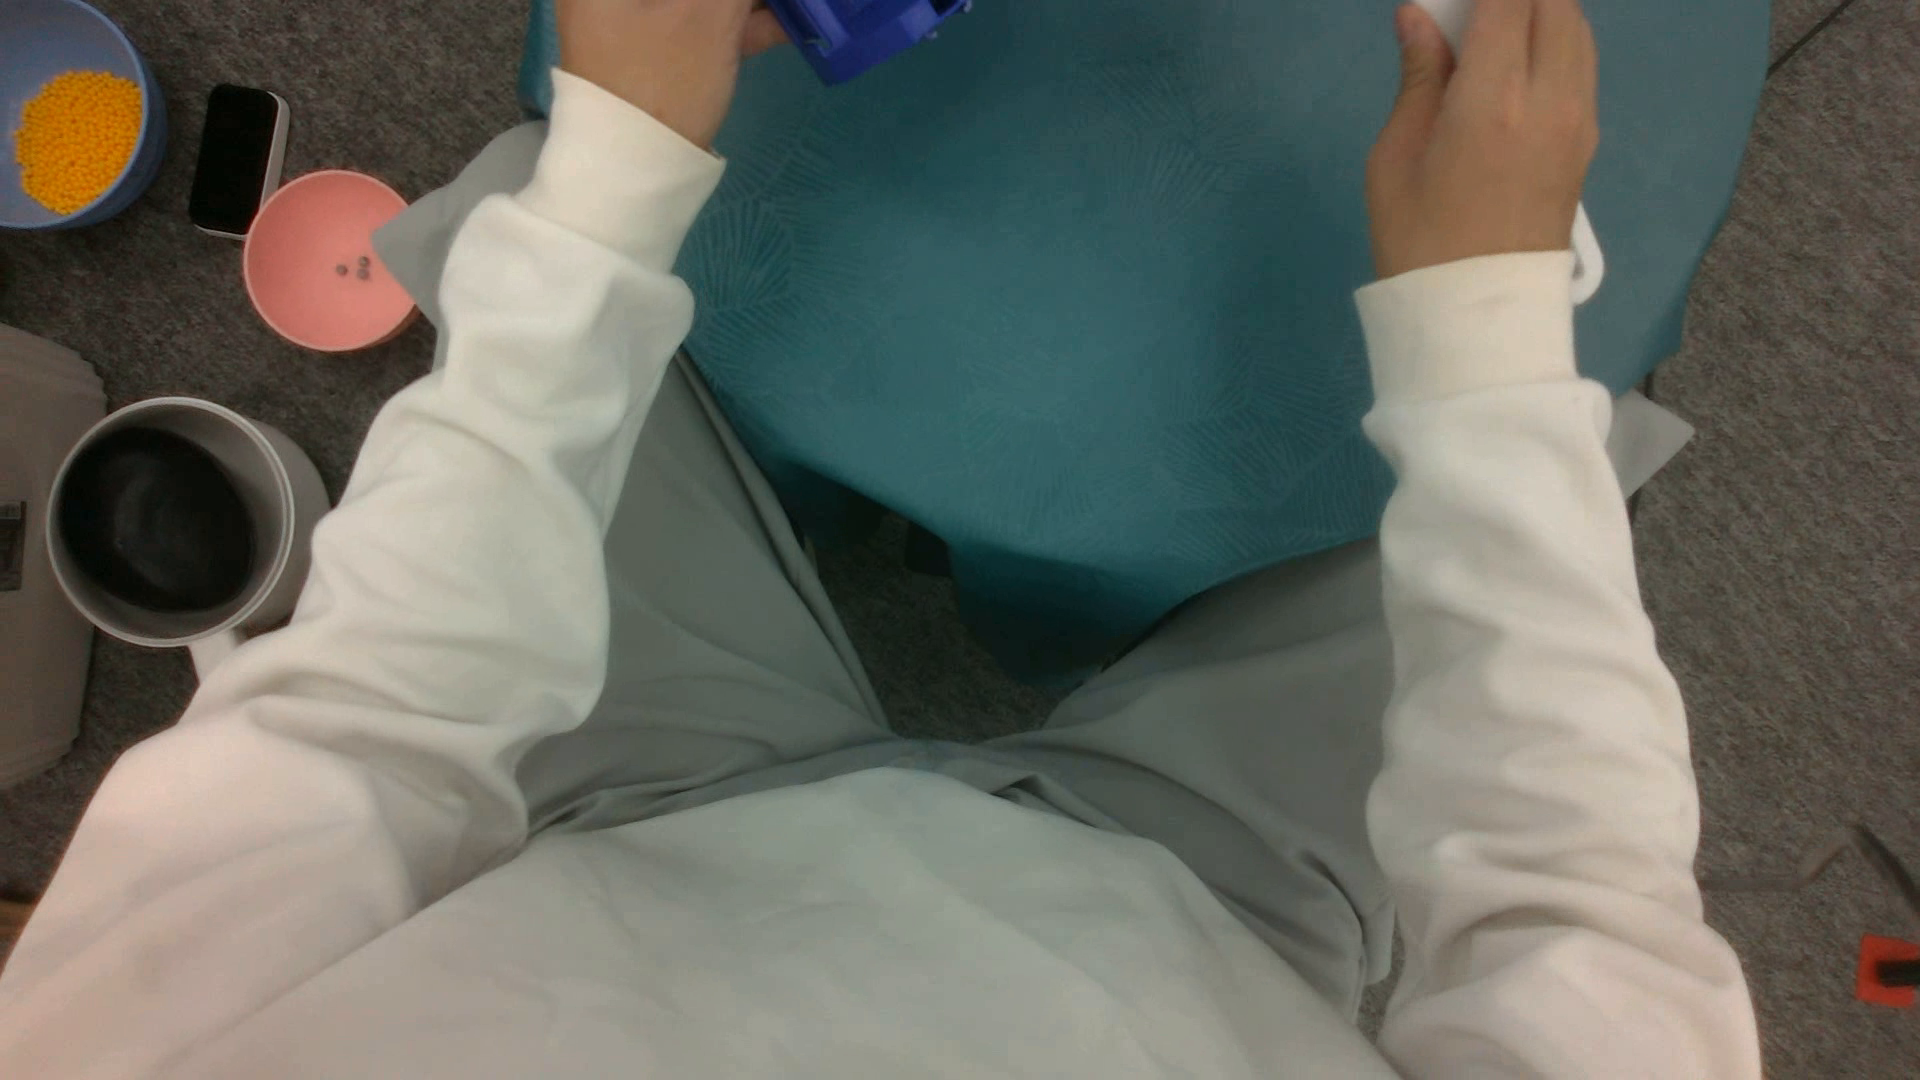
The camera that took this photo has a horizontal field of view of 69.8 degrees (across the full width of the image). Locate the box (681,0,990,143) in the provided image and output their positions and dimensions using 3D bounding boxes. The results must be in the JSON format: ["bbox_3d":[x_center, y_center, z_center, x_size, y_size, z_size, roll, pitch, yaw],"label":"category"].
[{"bbox_3d":[-0.031,-0.259,0.541,0.179,0.082,0.124,-41,115,-1],"label":"box"}]

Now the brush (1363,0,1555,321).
[{"bbox_3d":[0.183,-0.208,0.562,0.068,0.056,0.266,-28,118,10],"label":"brush"}]
